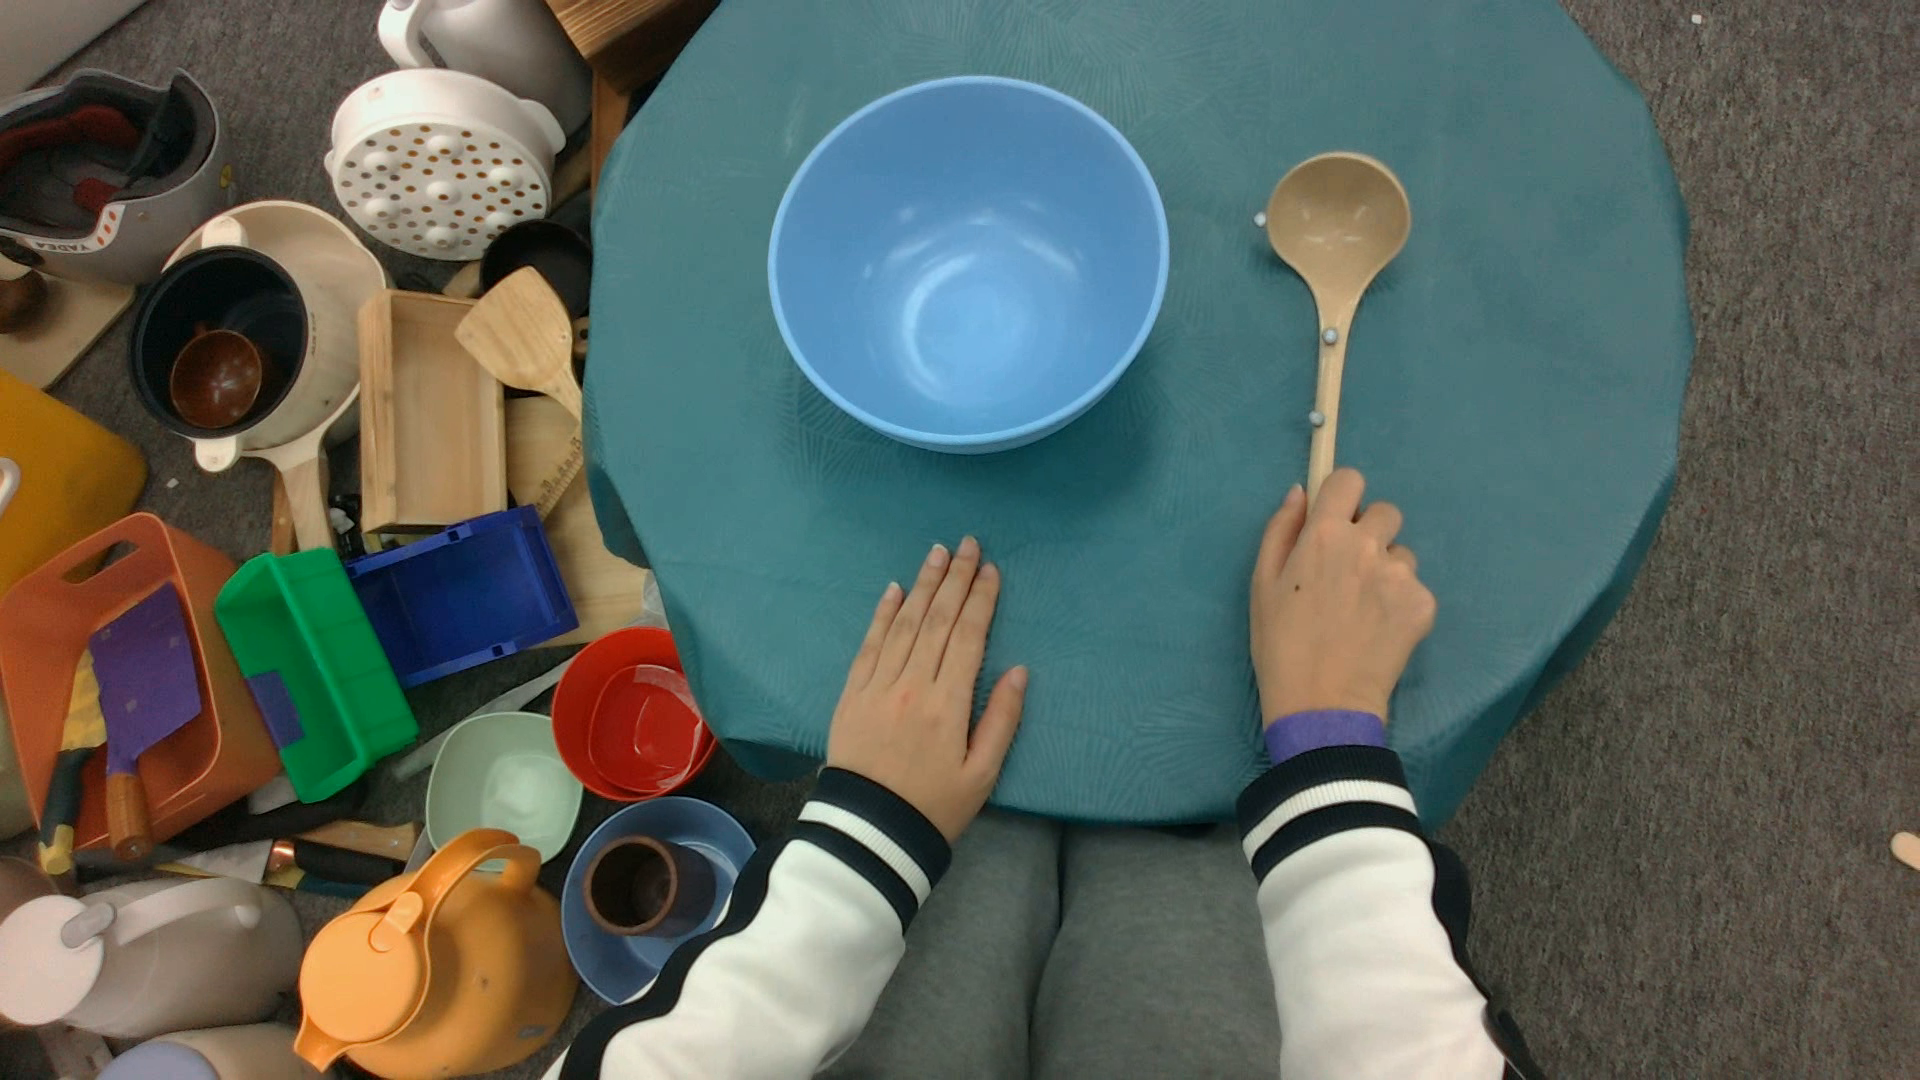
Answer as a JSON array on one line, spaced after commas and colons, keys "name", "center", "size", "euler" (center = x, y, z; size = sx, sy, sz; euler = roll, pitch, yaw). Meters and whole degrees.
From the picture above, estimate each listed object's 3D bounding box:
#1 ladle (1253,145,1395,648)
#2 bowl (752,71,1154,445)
[{"name": "ladle", "center": [0.179, -0.078, 0.693], "size": [0.072, 0.072, 0.255], "euler": [2, 73, 15]}, {"name": "bowl", "center": [-0.002, -0.131, 0.714], "size": [0.196, 0.095, 0.197], "euler": [-1, 74, 2]}]
